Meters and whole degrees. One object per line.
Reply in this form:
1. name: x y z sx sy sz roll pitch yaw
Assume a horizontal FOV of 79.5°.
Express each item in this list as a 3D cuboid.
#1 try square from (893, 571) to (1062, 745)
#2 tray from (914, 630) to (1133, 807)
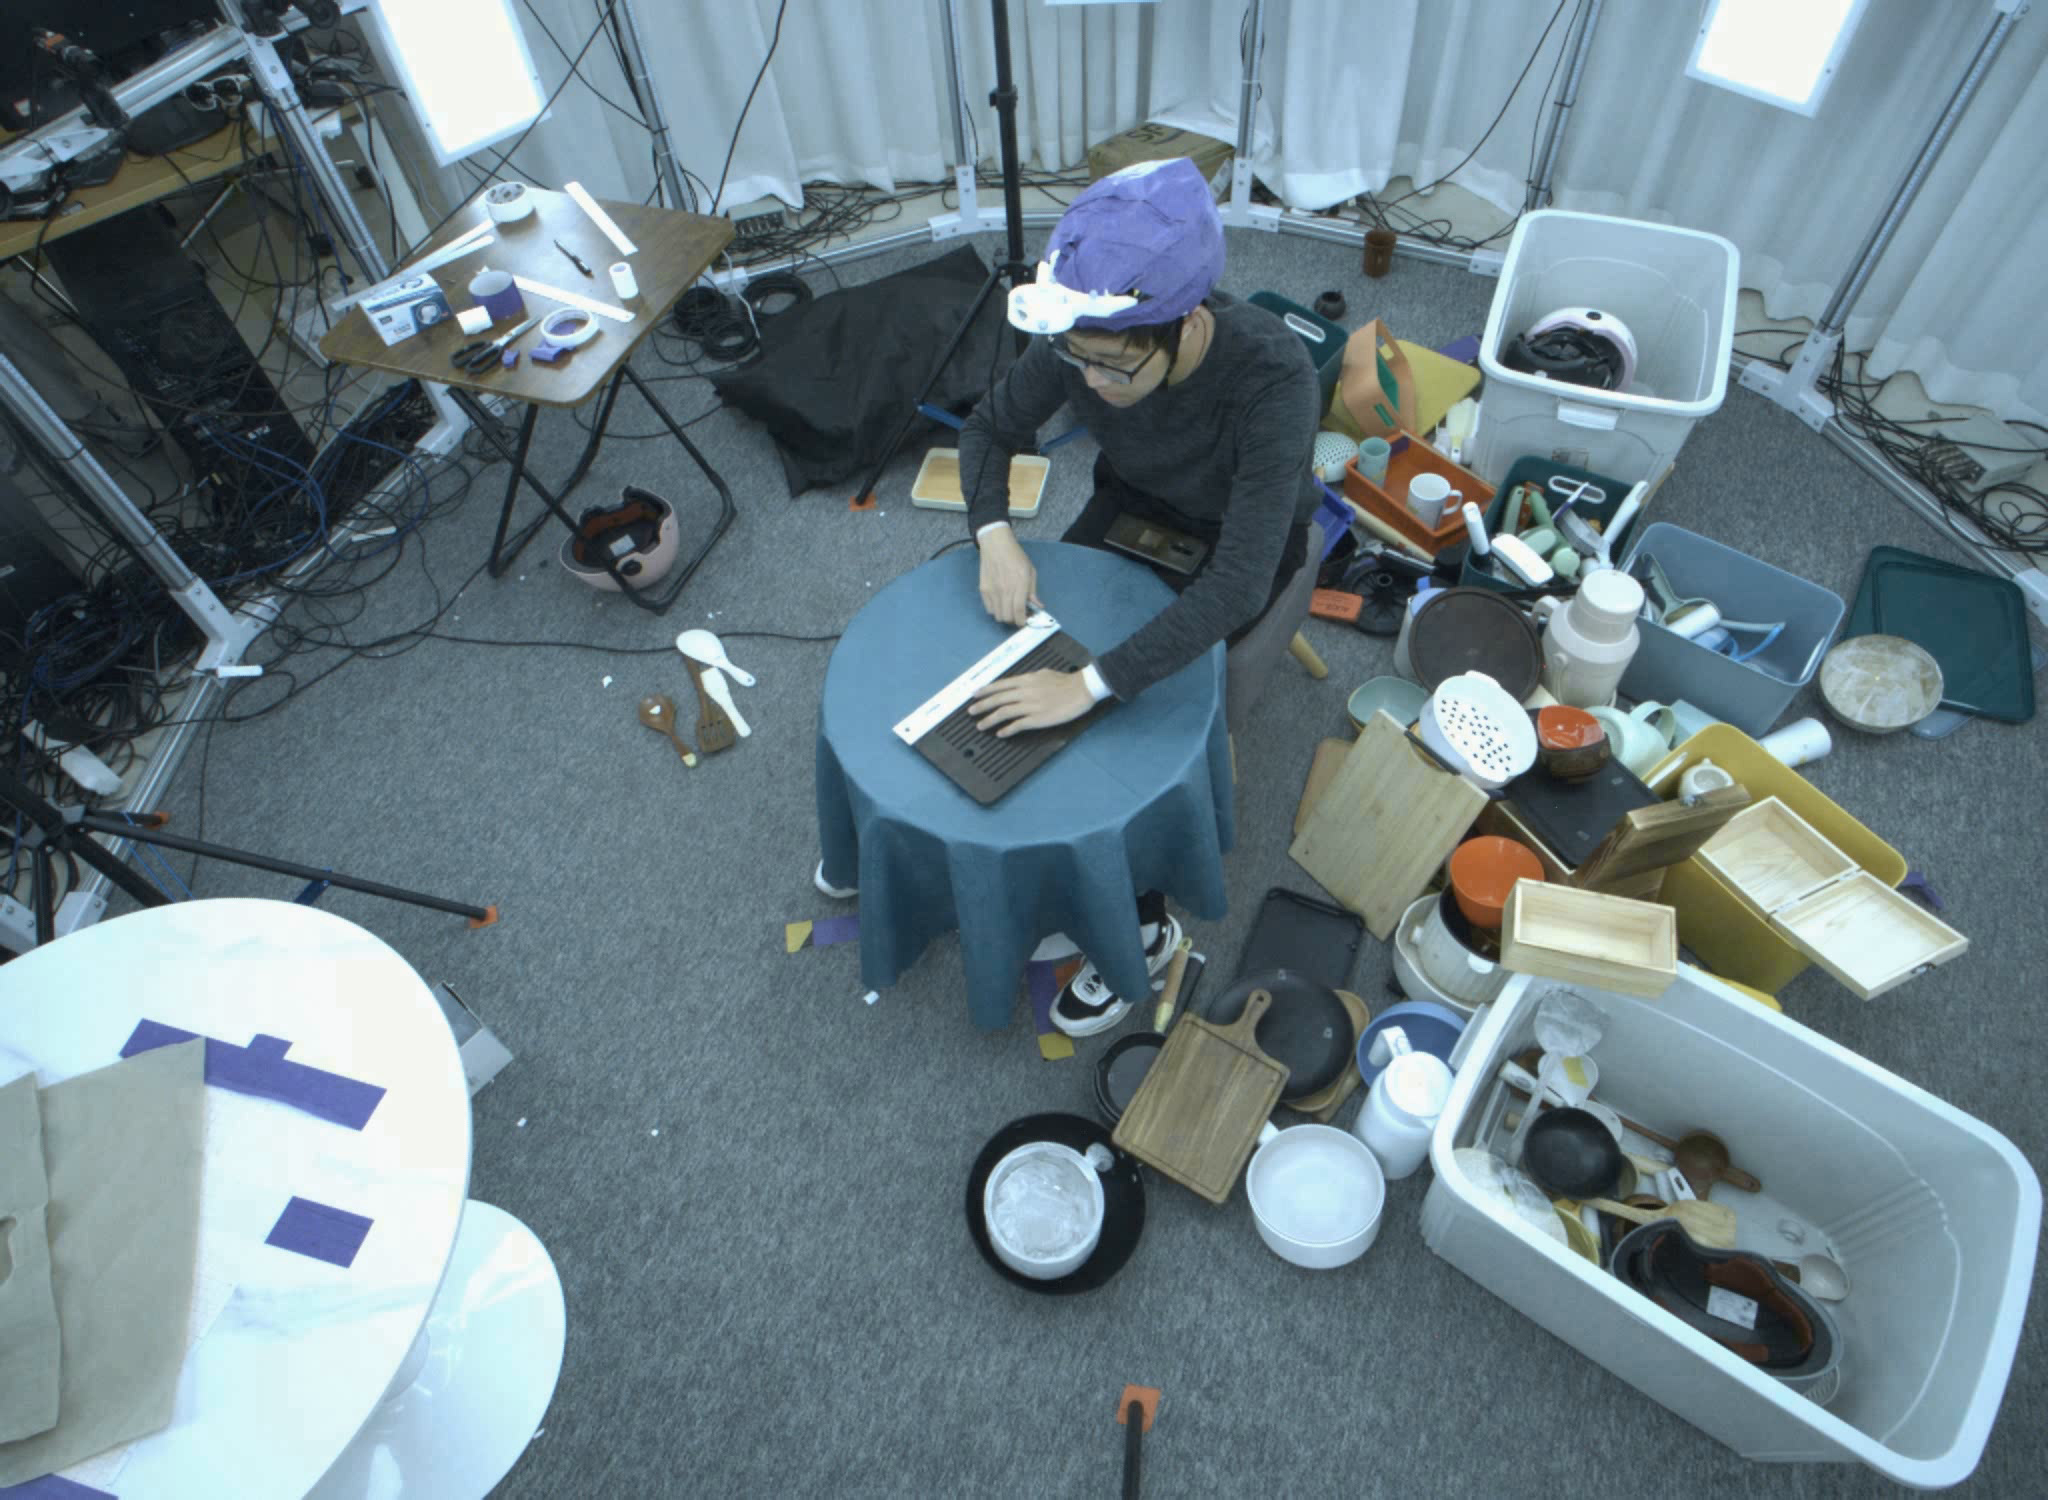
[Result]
1. try square: -0.104 -0.145 1.863 0.315 0.016 0.150 -40 67 -22
2. tray: 0.001 -0.050 1.812 0.308 0.019 0.167 -39 62 -23
